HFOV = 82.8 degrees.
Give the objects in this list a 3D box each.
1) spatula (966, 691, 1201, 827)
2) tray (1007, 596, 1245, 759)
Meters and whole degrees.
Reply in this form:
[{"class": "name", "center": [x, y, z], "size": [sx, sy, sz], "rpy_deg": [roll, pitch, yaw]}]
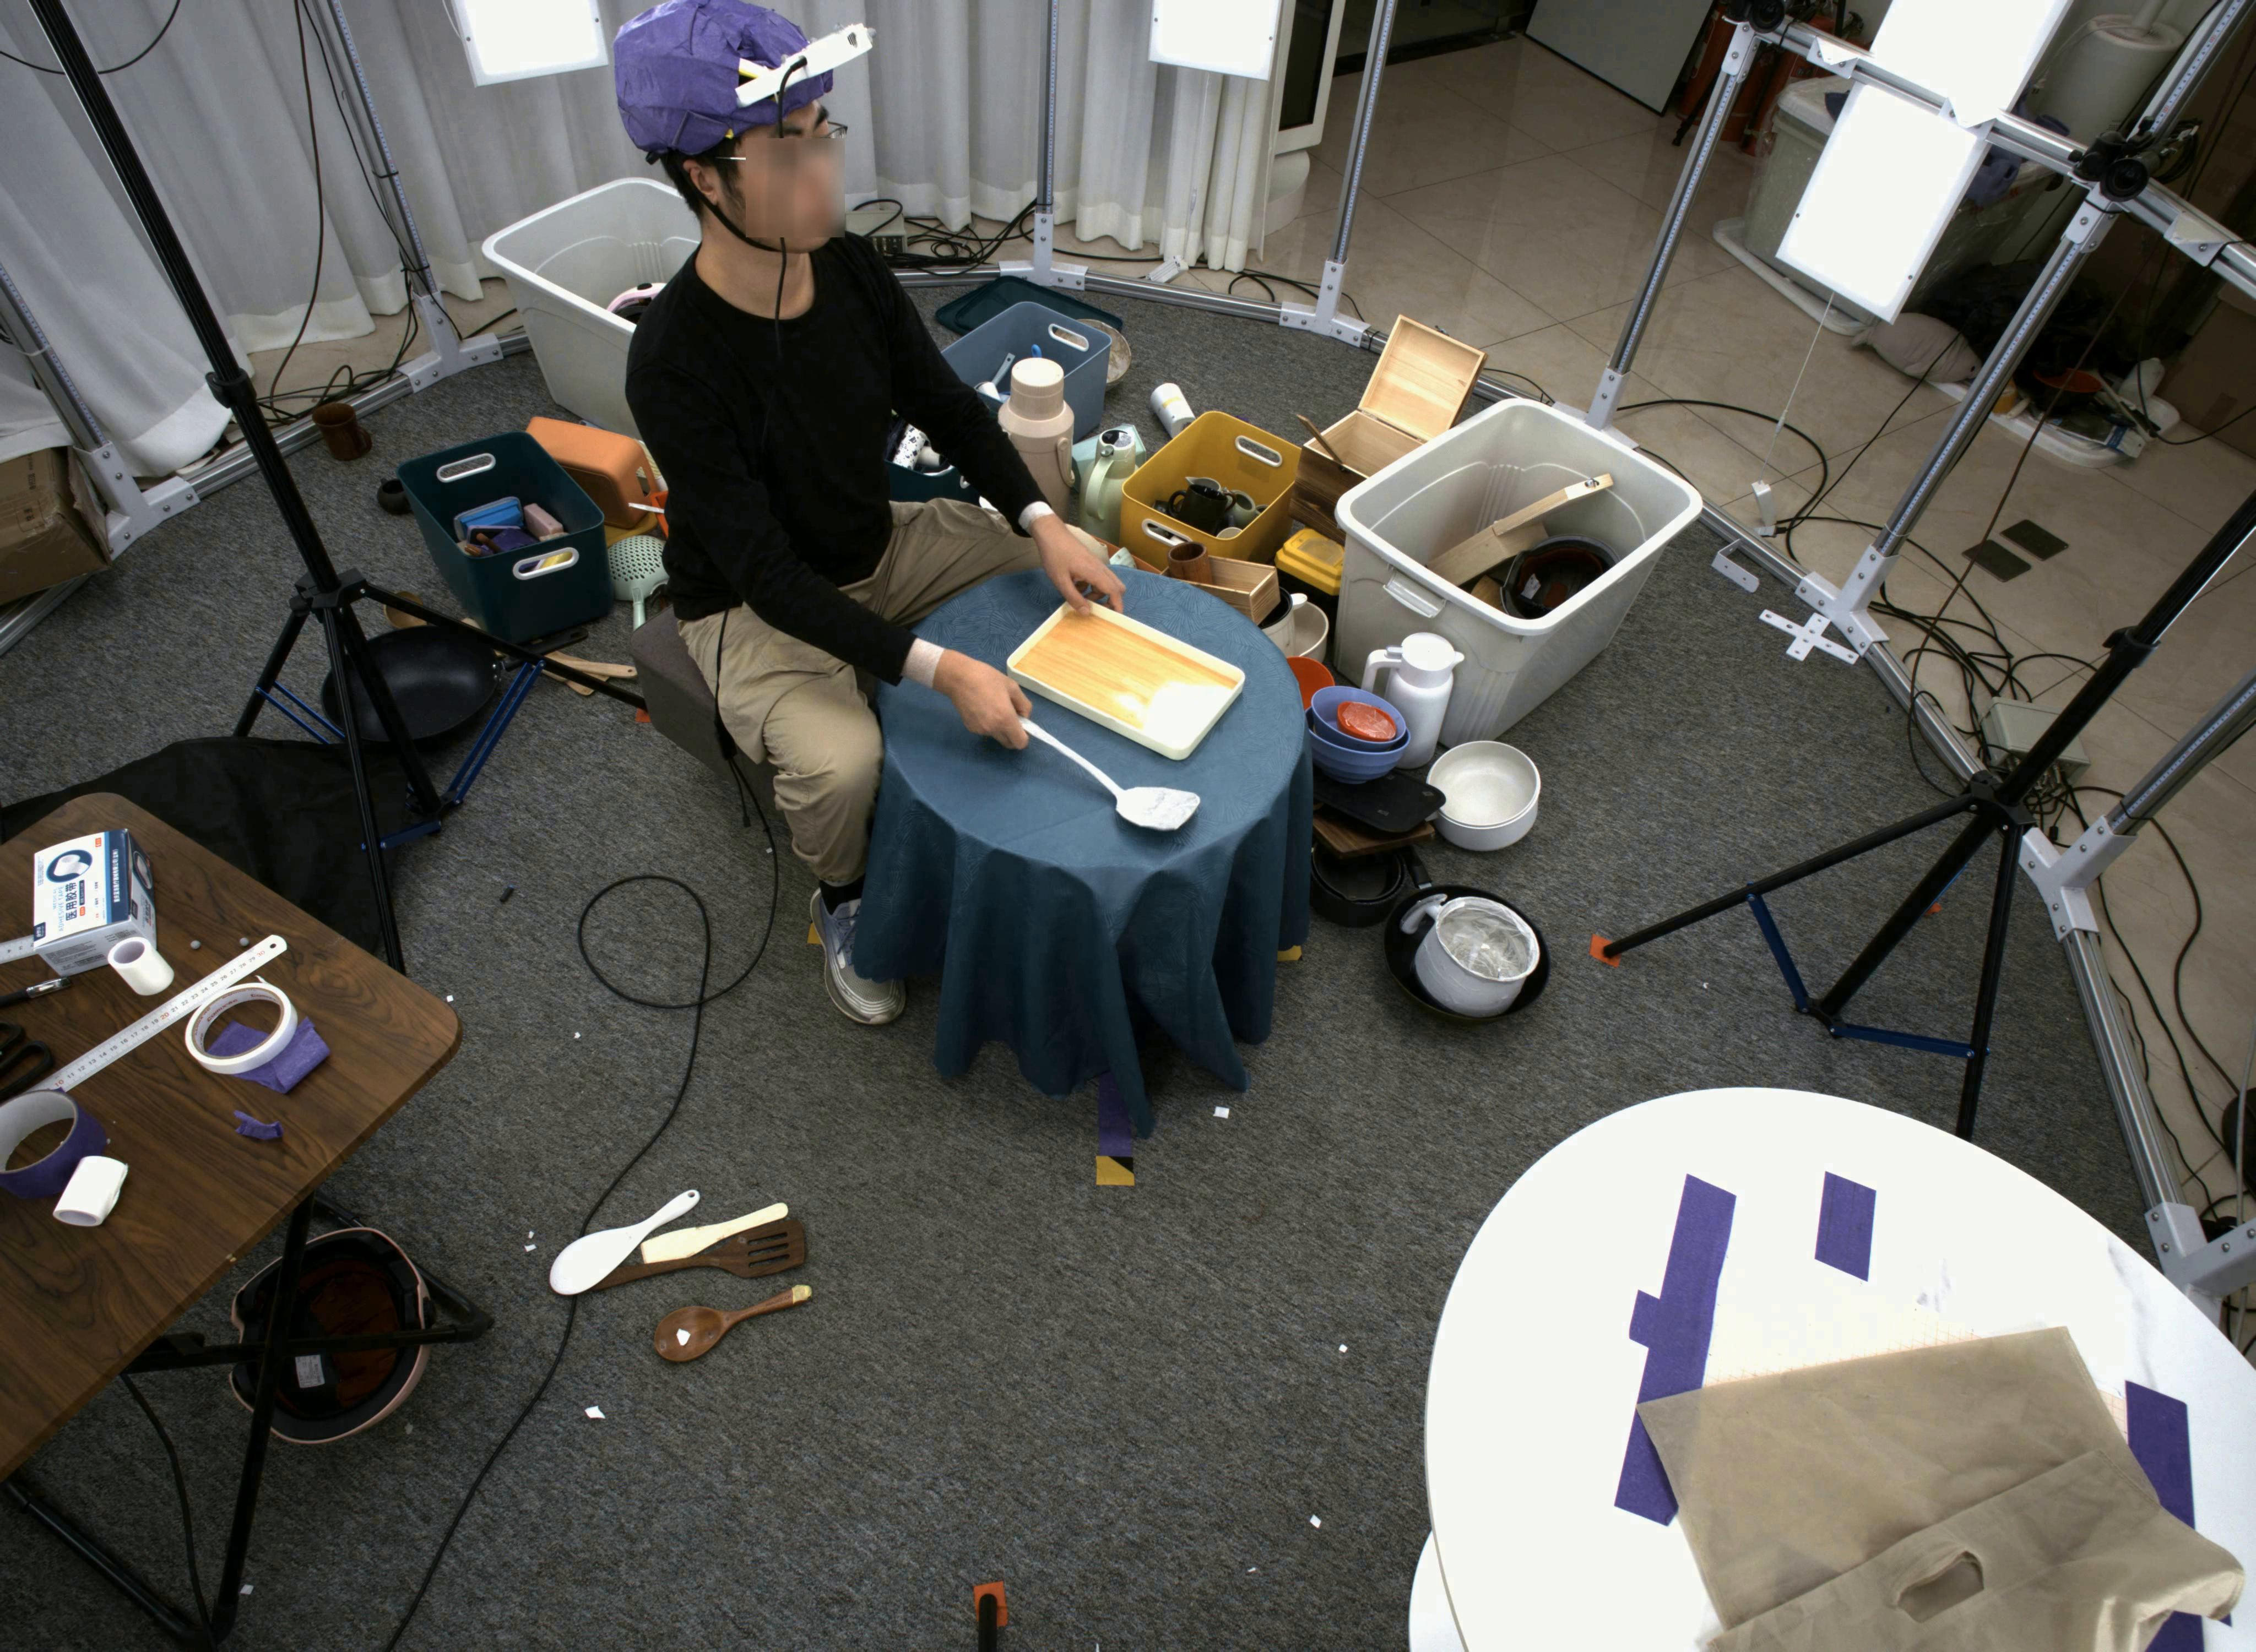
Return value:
[{"class": "spatula", "center": [-0.072, -0.097, 1.703], "size": [0.368, 0.044, 0.100], "rpy_deg": [33, 40, 13]}, {"class": "tray", "center": [-0.003, -0.217, 1.841], "size": [0.303, 0.027, 0.194], "rpy_deg": [27, 53, 19]}]
